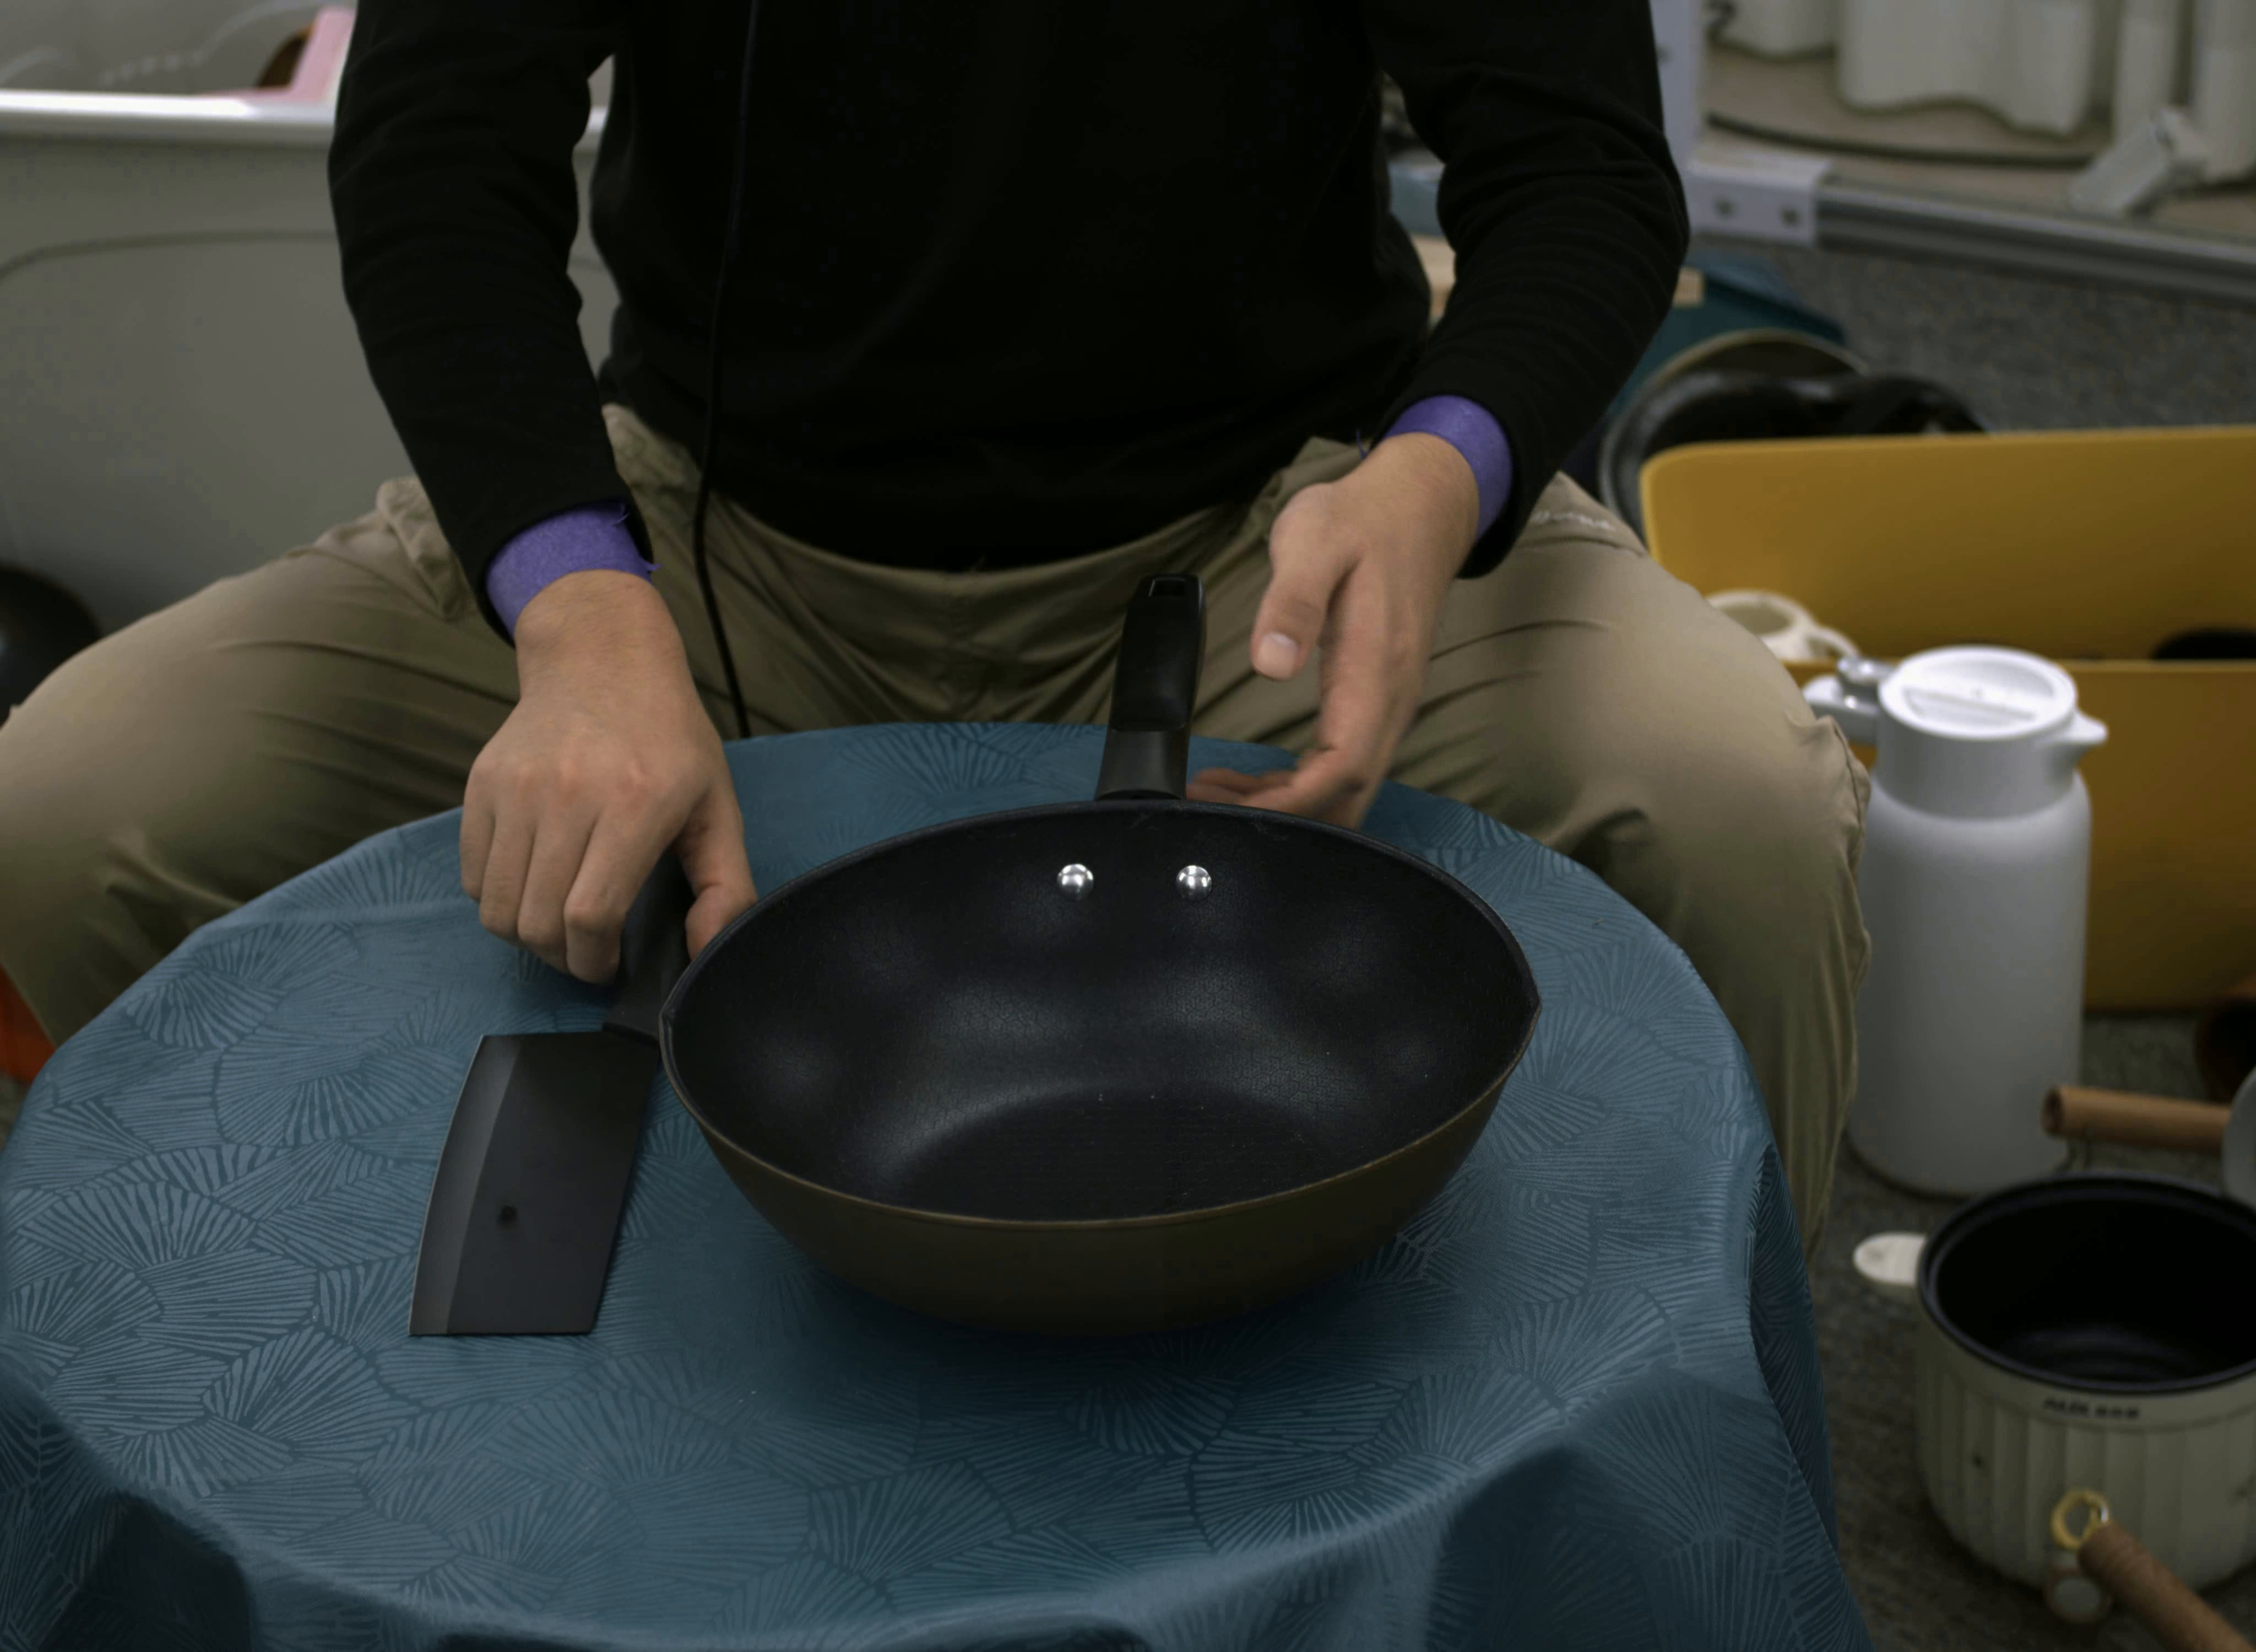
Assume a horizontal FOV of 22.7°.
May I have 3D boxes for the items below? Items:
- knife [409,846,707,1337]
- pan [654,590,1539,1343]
[{"bbox_3d":[-0.190,0.089,1.926,0.080,0.020,0.307,2,30,8],"label":"knife"},{"bbox_3d":[-0.001,0.049,1.911,0.286,0.086,0.471,0,27,6],"label":"pan"}]
